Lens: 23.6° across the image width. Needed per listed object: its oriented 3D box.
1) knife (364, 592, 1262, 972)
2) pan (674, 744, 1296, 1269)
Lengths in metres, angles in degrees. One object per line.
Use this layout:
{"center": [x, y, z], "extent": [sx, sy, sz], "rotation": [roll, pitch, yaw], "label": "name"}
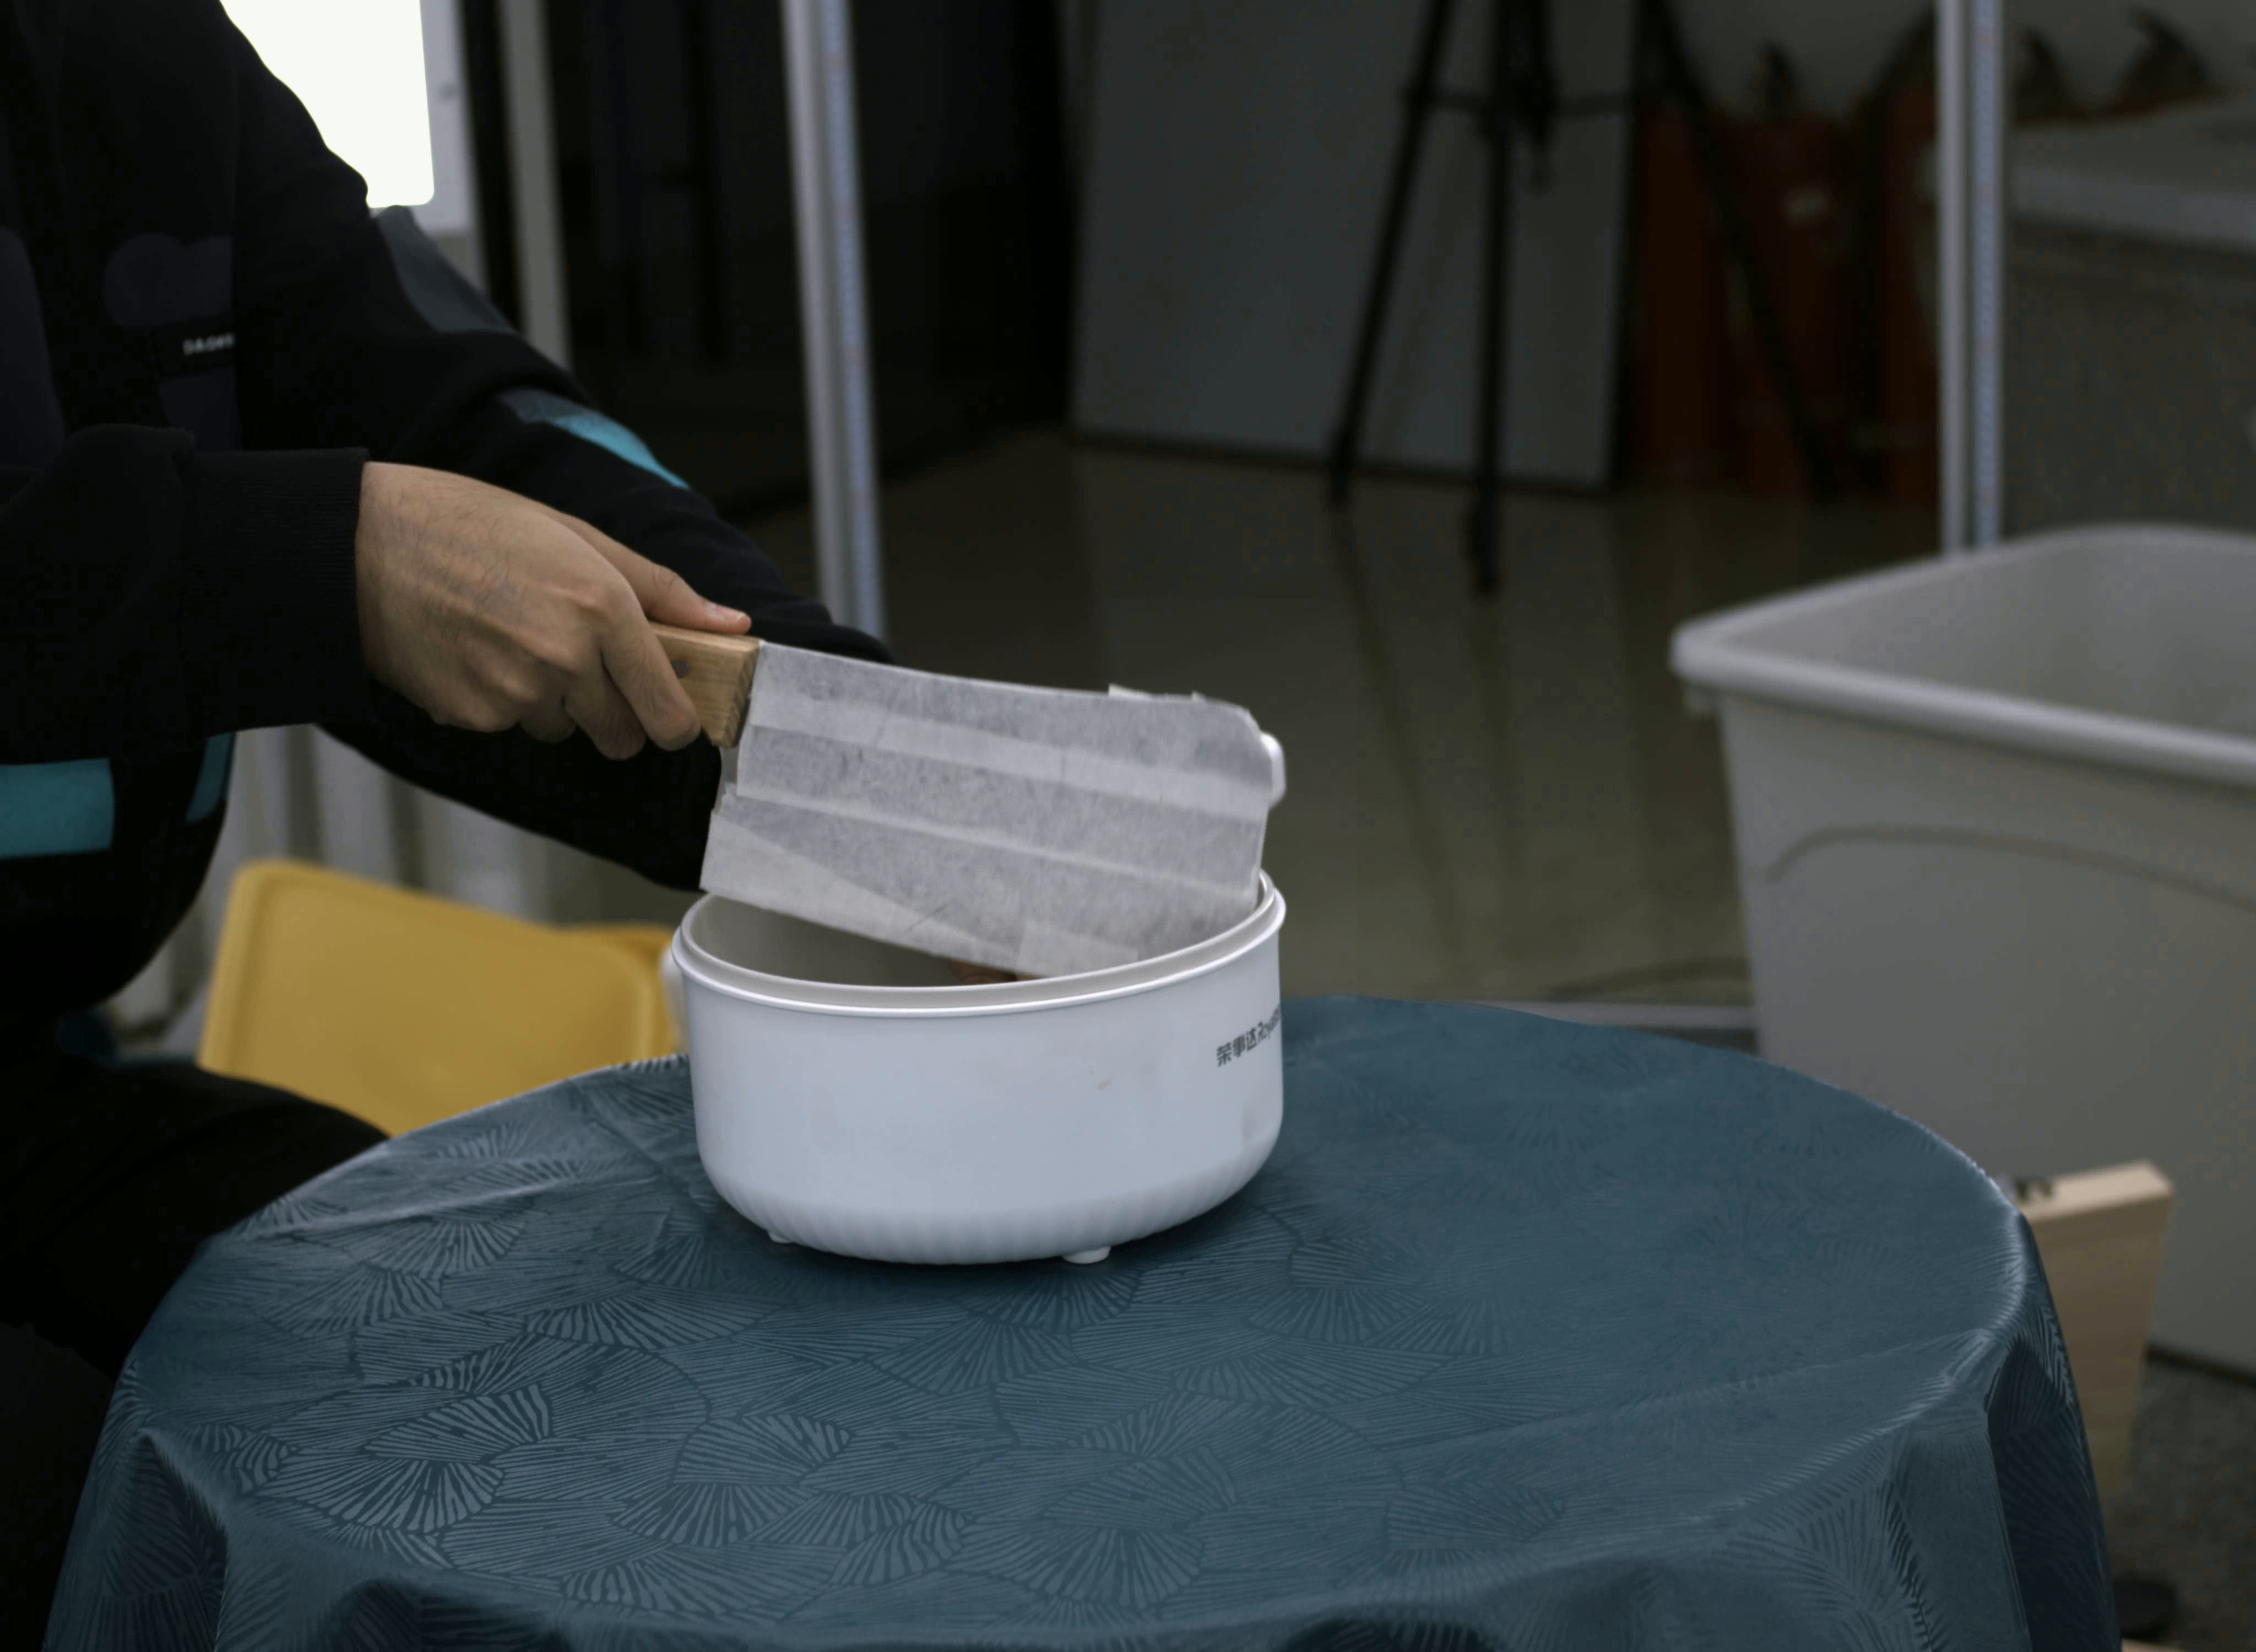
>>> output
{"center": [-0.101, -0.022, 1.753], "extent": [0.313, 0.115, 0.021], "rotation": [16, 9, 10], "label": "knife"}
{"center": [-0.018, 0.057, 1.830], "extent": [0.201, 0.103, 0.351], "rotation": [0, 14, 22], "label": "pan"}
